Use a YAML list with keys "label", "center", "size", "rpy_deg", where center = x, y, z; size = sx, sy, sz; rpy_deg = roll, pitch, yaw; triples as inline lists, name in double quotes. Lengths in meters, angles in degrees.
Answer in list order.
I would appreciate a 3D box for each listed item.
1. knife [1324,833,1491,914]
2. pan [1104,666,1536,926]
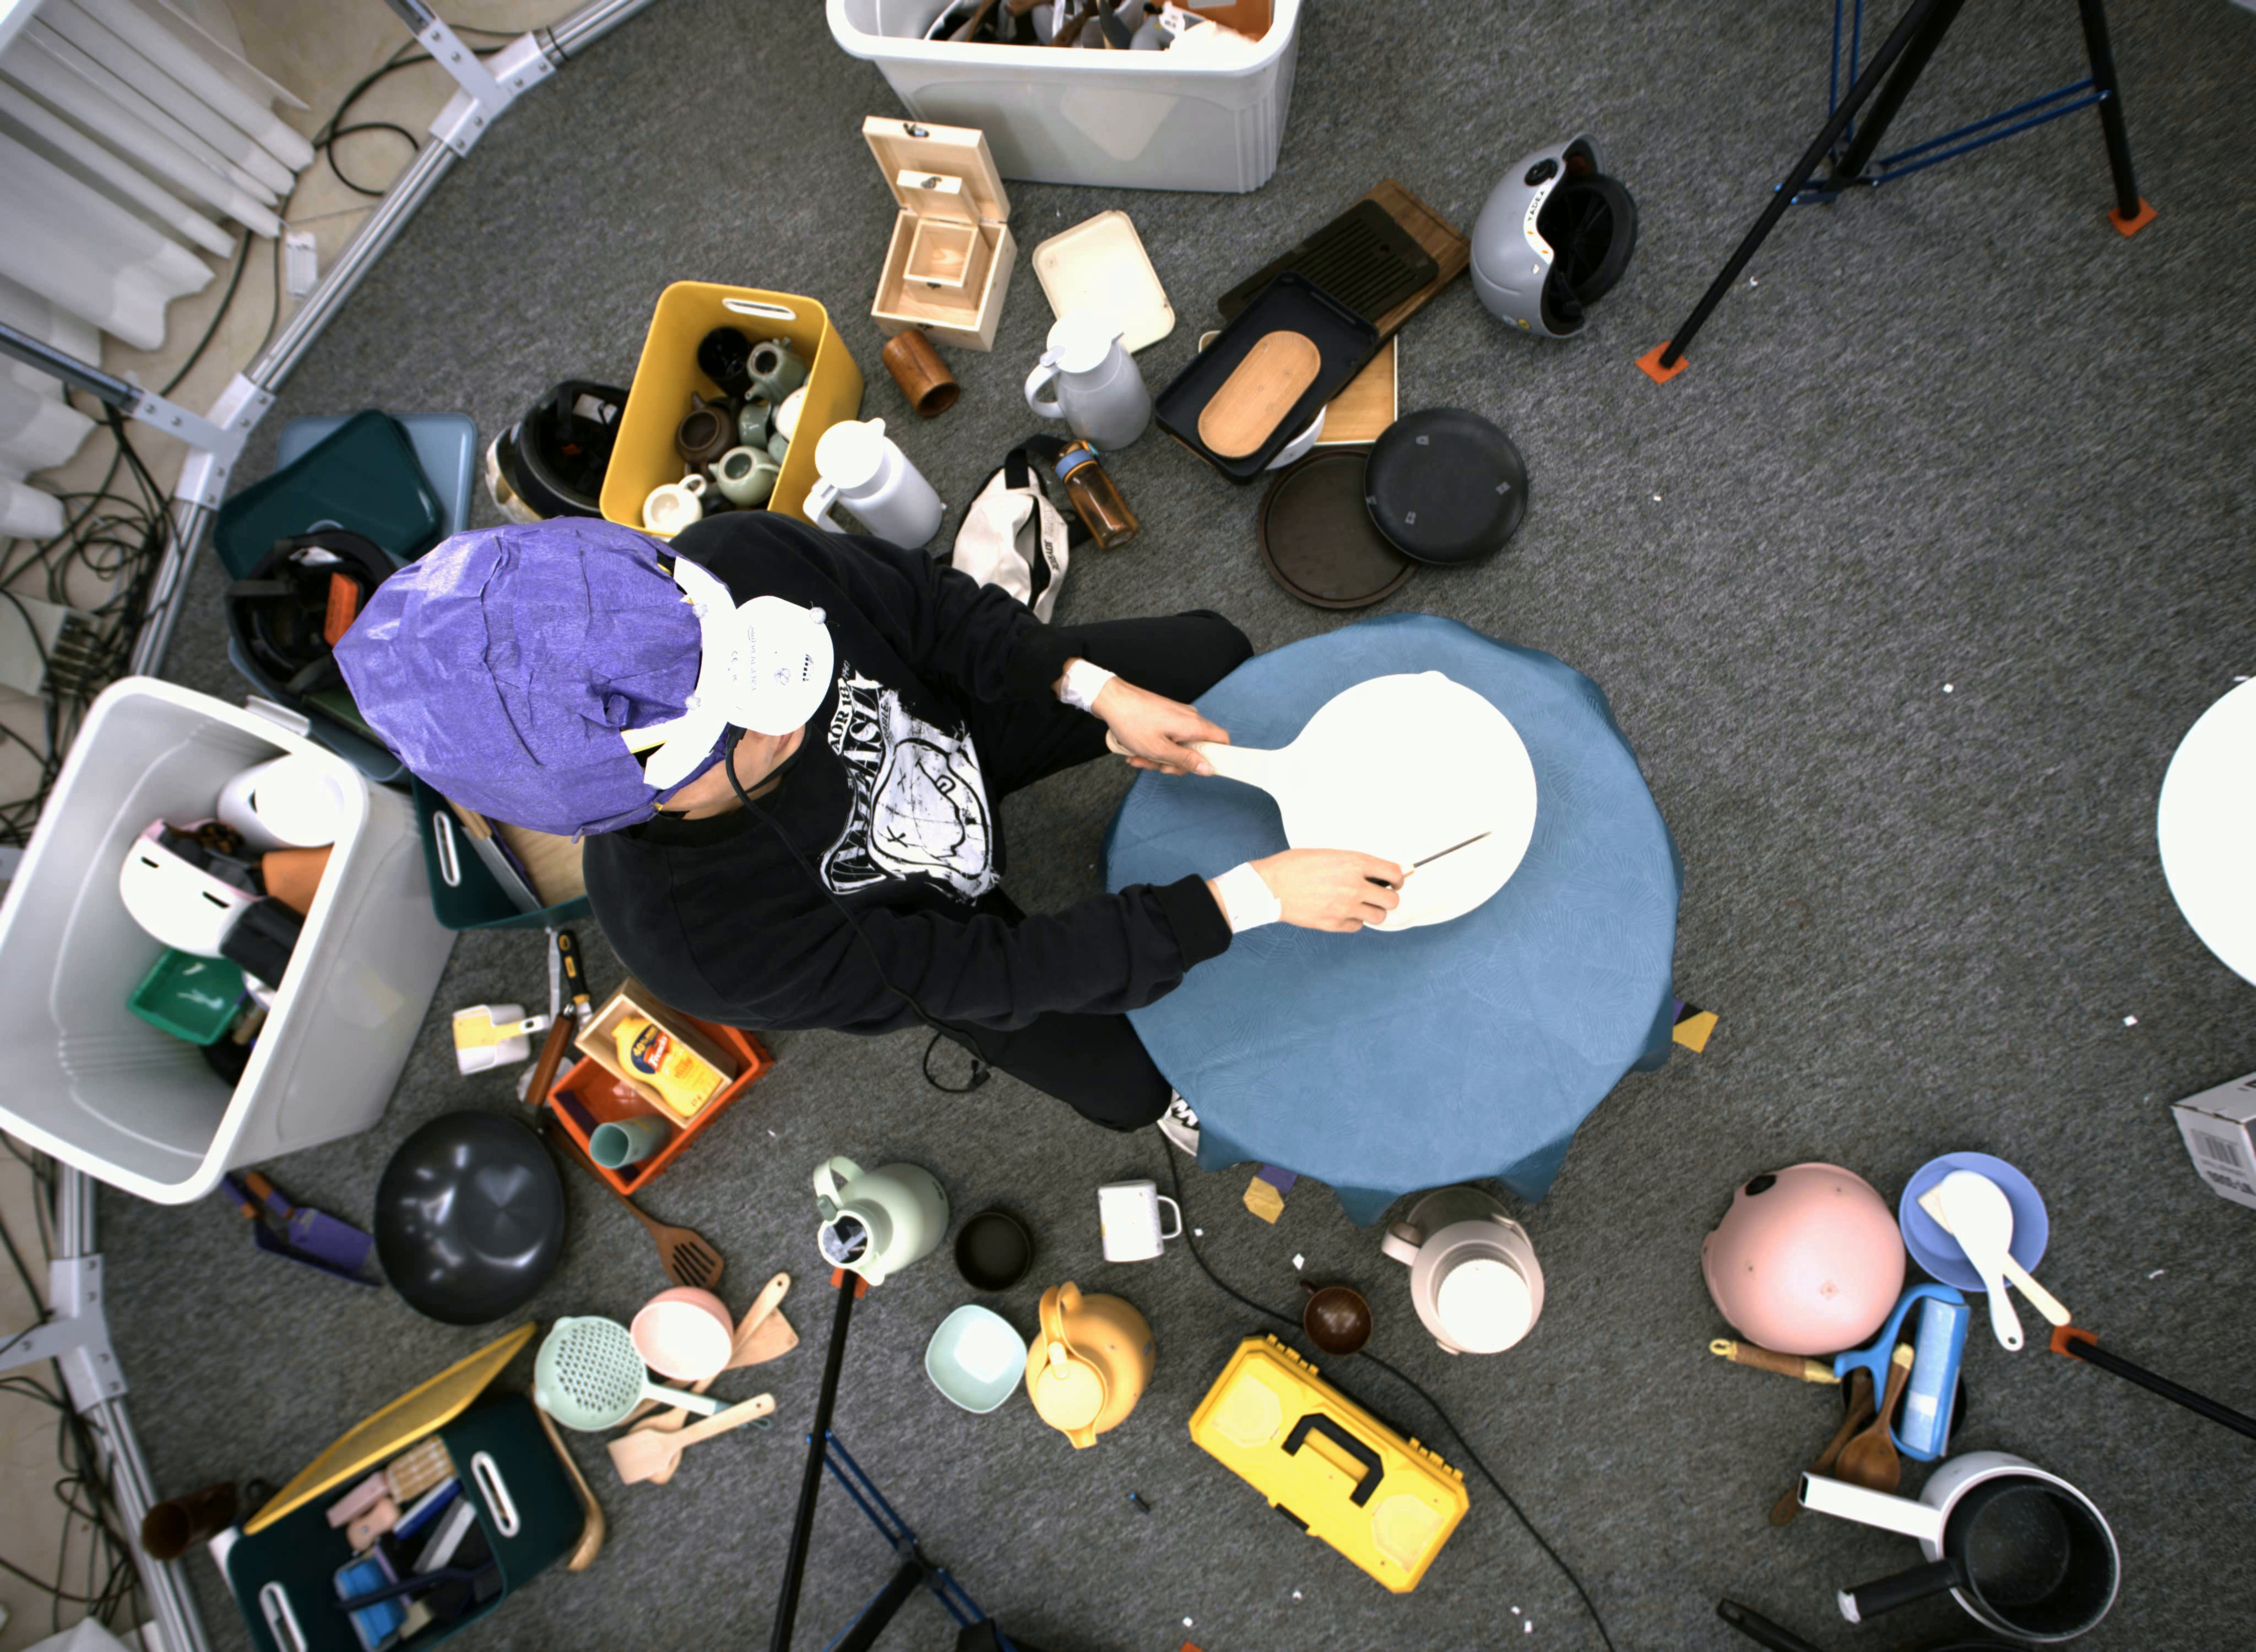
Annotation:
- label: "knife"
  center: [0.286, 0.042, 1.389]
  size: [0.223, 0.027, 0.017]
  rpy_deg: [-22, 77, -23]
- label: "pan"
  center: [0.196, -0.051, 1.420]
  size: [0.435, 0.101, 0.265]
  rpy_deg: [12, 98, 11]
